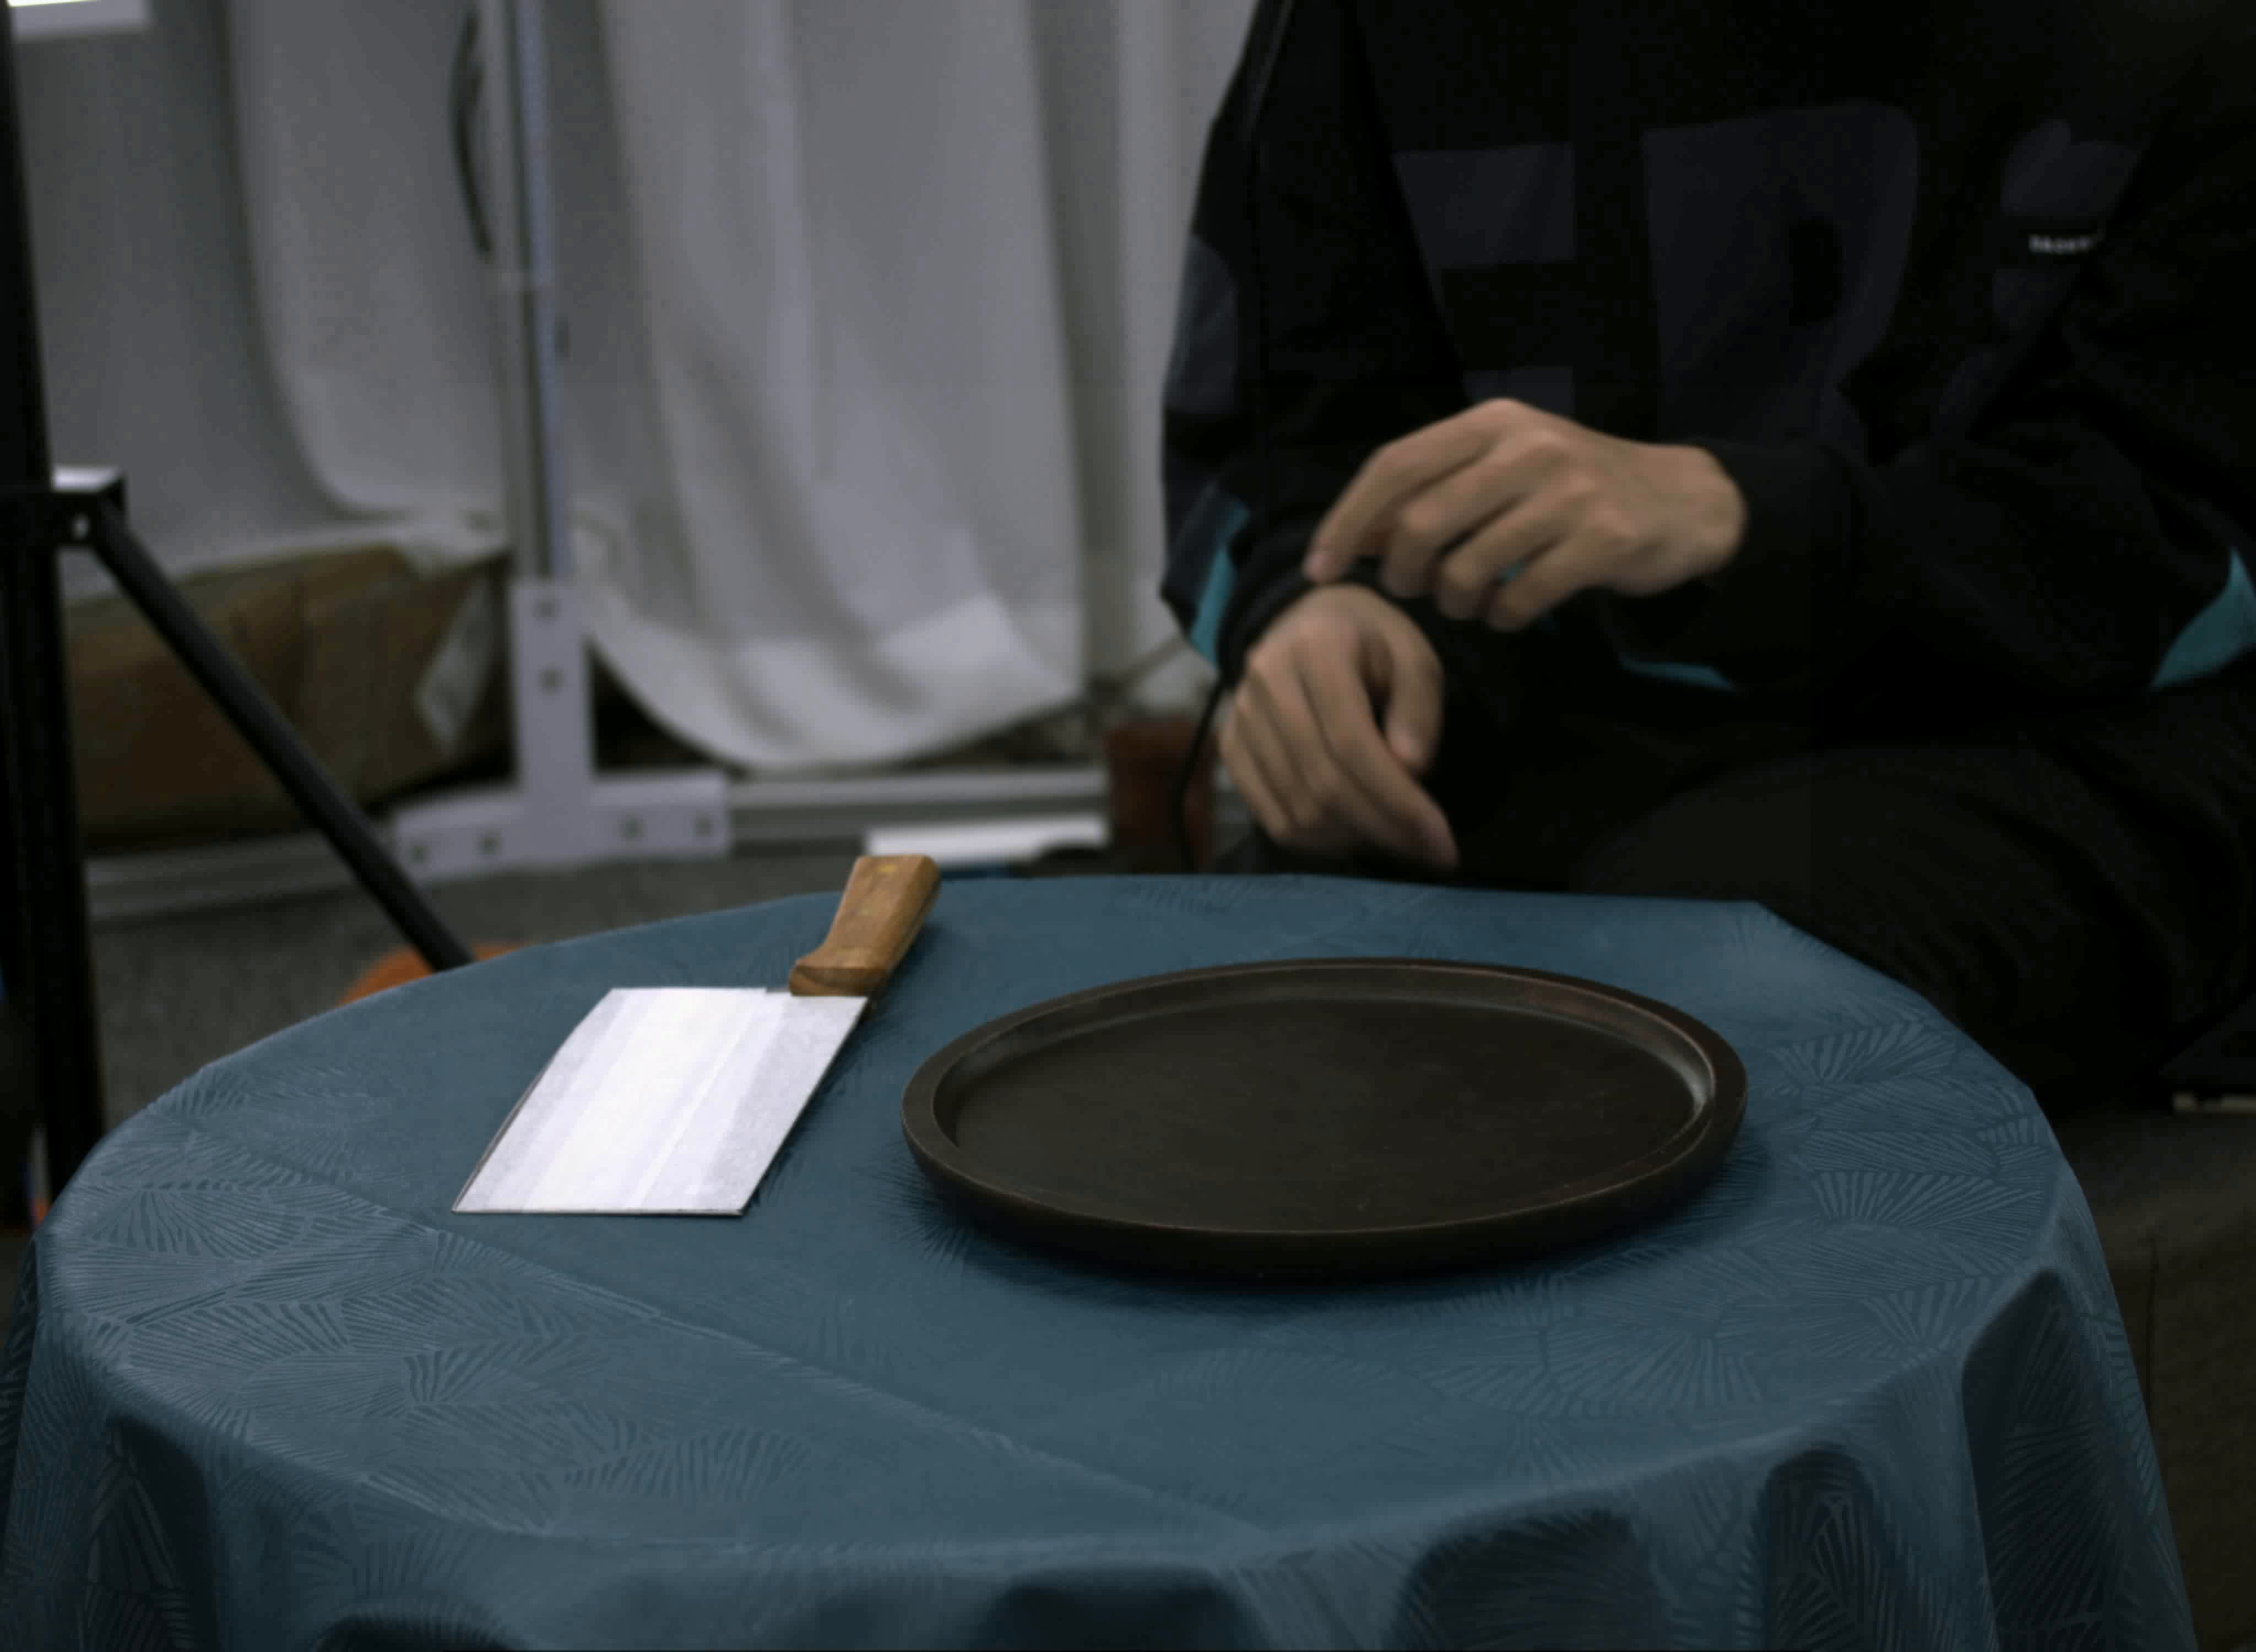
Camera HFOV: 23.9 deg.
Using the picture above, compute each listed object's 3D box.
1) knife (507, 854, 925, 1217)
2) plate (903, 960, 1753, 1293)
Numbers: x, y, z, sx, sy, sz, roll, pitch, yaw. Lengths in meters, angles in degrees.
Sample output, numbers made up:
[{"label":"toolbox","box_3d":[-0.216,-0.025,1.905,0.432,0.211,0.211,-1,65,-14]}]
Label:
[{"label":"knife","box_3d":[-0.130,0.065,1.703,0.093,0.021,0.305,-1,18,10]},{"label":"plate","box_3d":[0.059,0.086,1.578,0.253,0.029,0.256,-2,17,-1]}]
